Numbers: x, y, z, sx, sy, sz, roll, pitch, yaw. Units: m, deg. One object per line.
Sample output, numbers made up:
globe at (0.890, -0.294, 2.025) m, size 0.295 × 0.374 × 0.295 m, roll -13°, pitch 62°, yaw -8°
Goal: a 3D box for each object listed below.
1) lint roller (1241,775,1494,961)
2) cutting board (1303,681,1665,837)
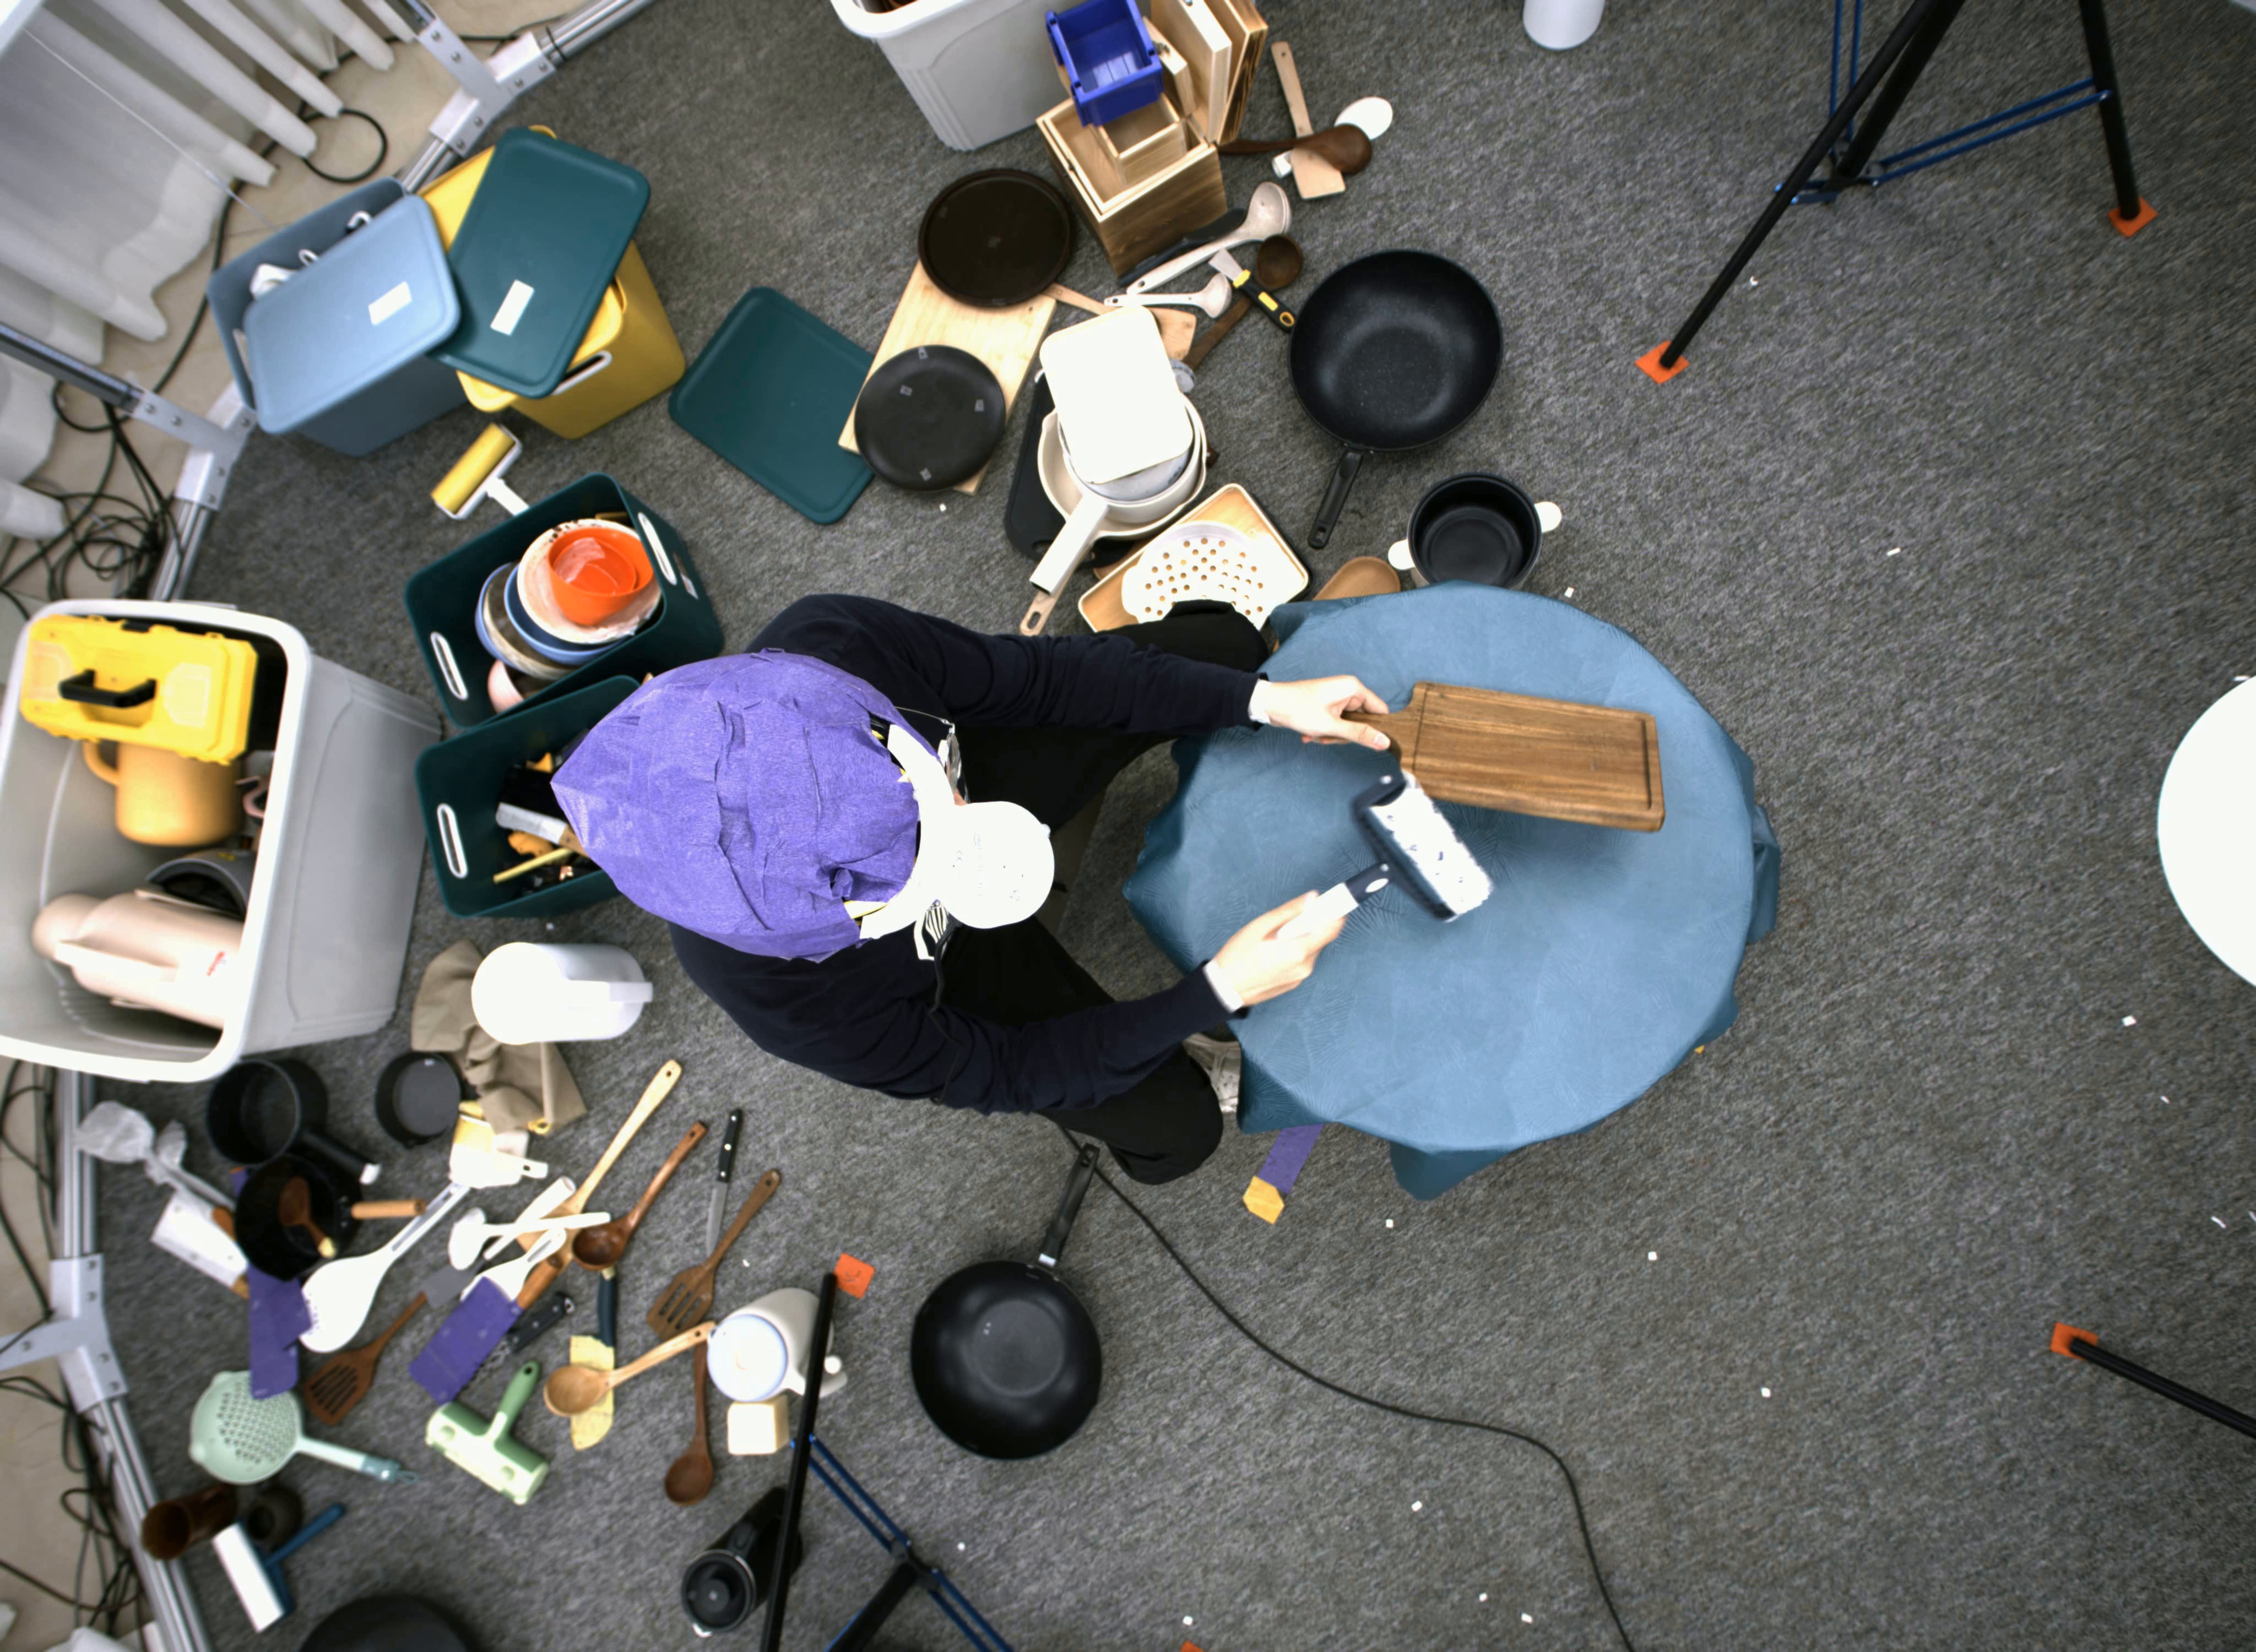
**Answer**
lint roller at (0.217, 0.070, 1.356) m, size 0.250 × 0.049 × 0.178 m, roll -34°, pitch 124°, yaw 18°
cutting board at (0.351, -0.082, 1.374) m, size 0.353 × 0.195 × 0.024 m, roll 10°, pitch 129°, yaw 11°
